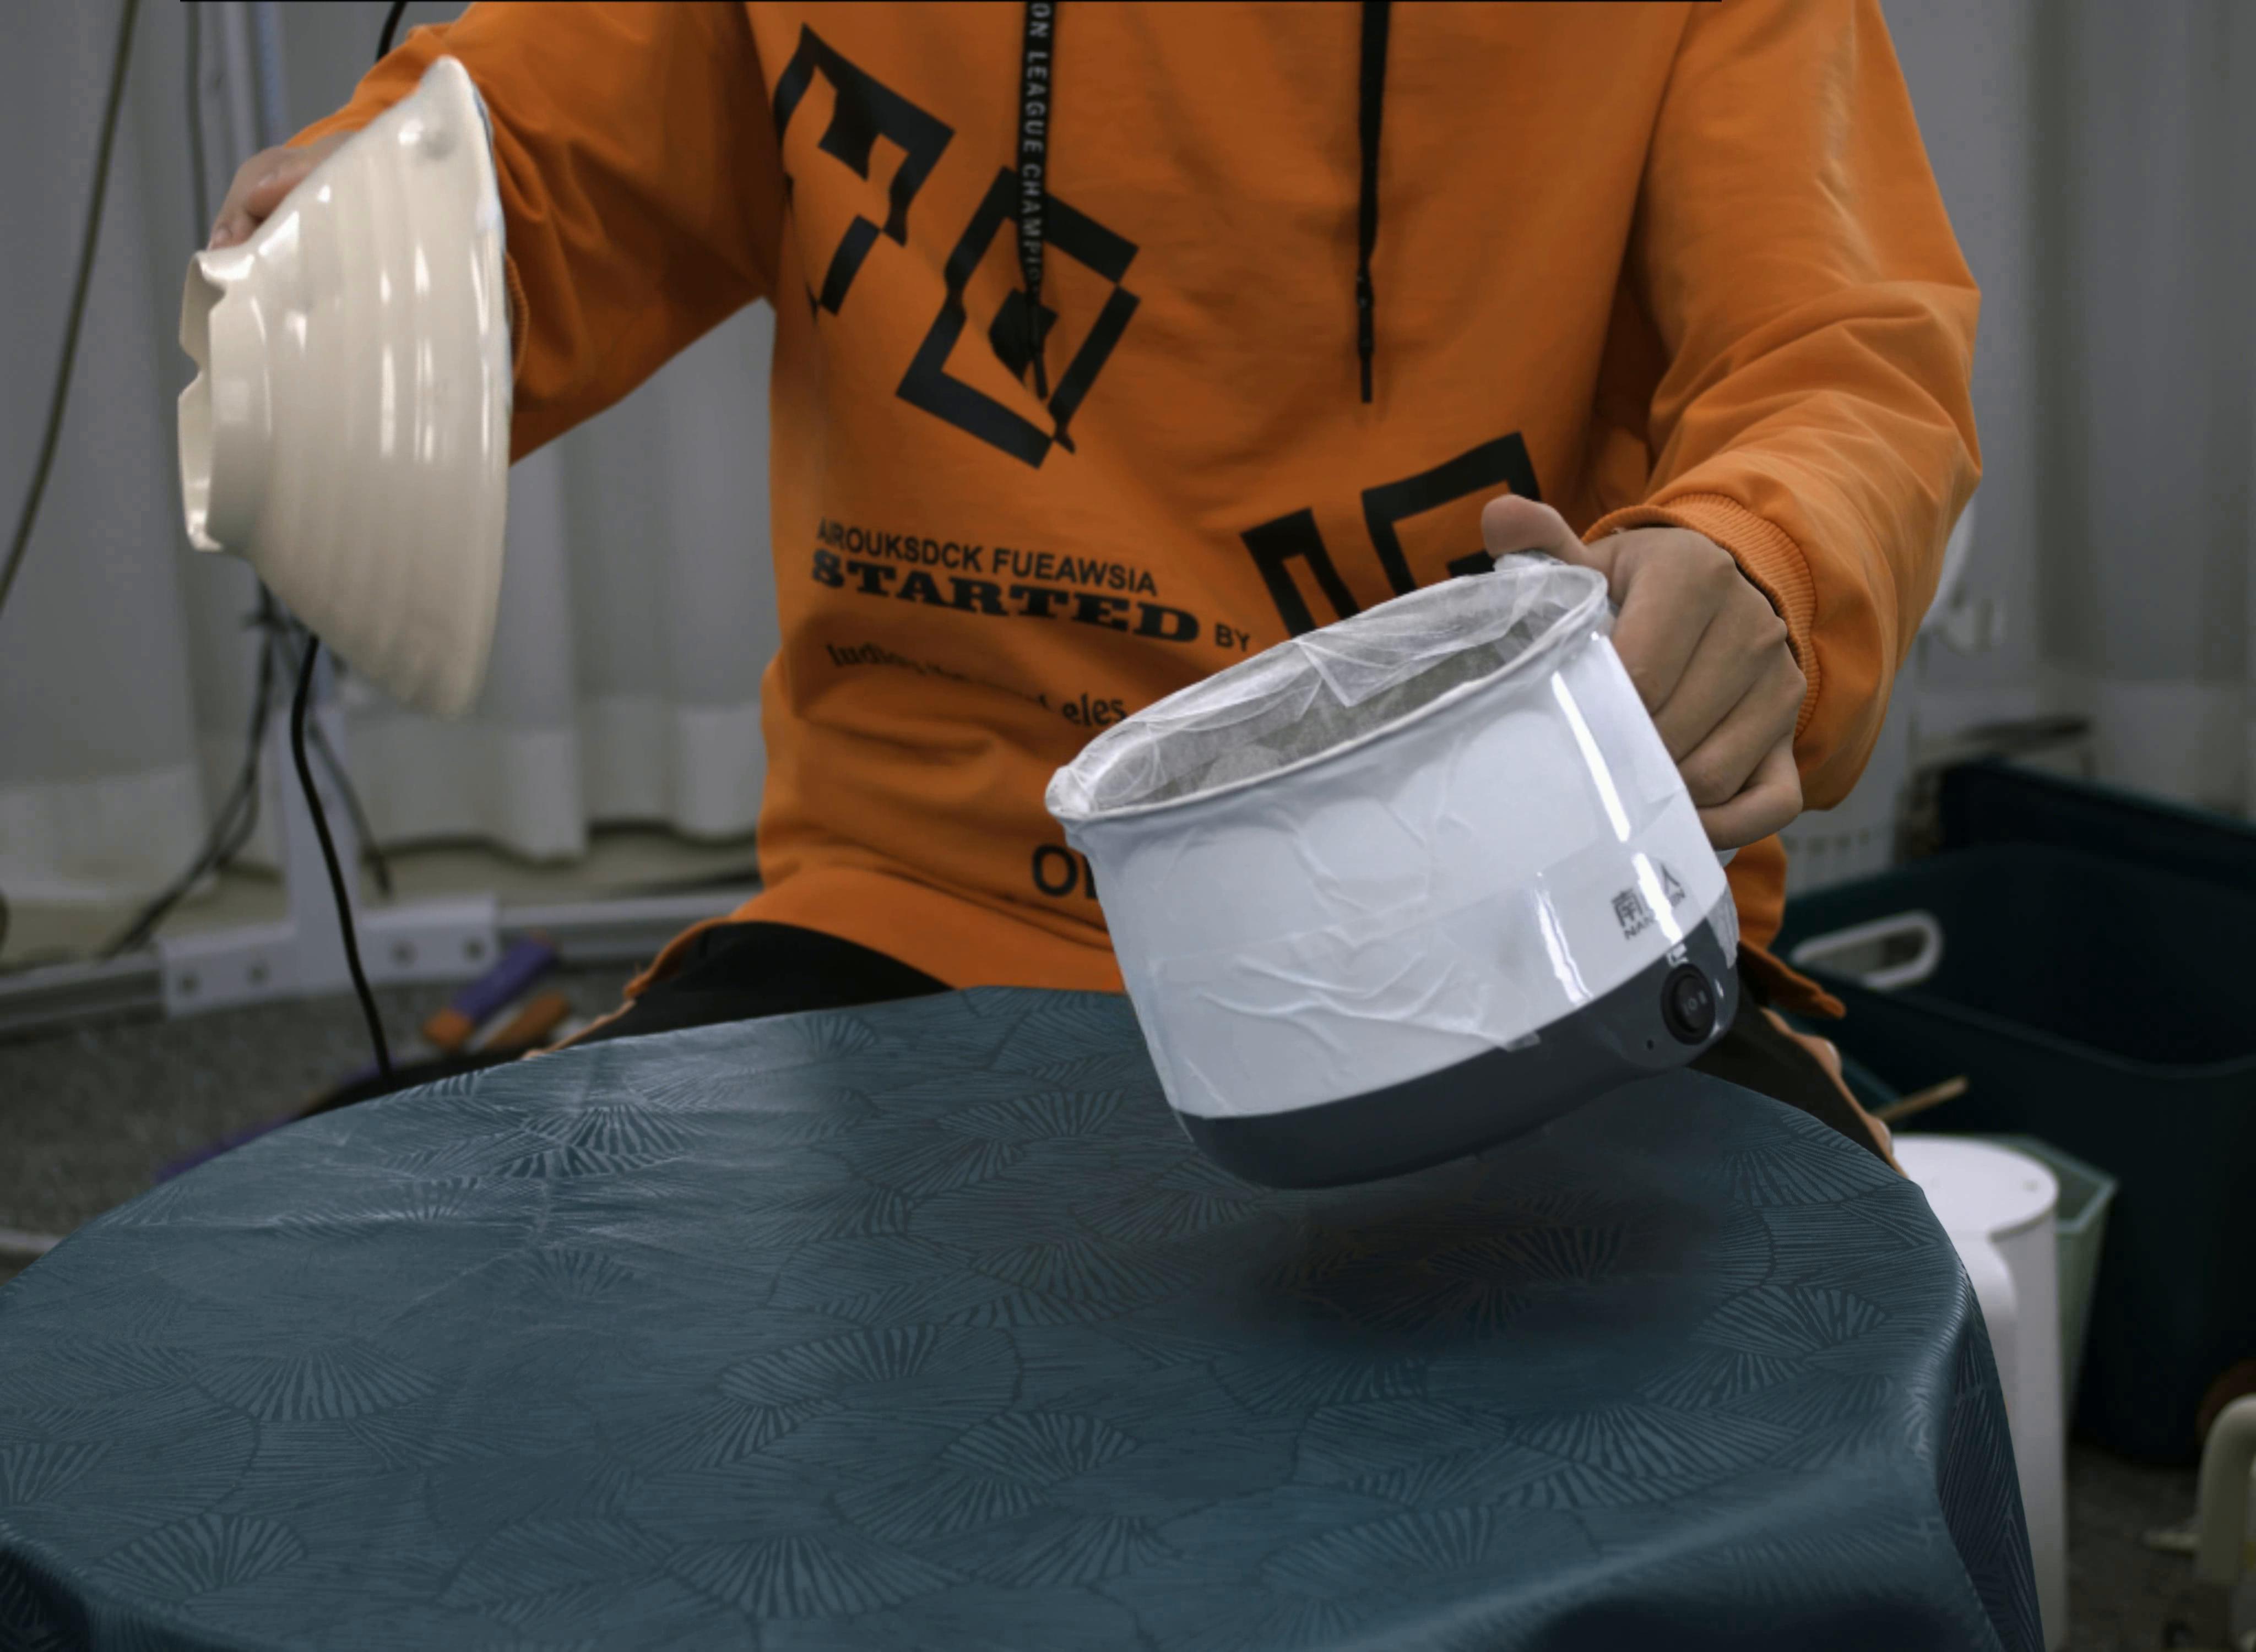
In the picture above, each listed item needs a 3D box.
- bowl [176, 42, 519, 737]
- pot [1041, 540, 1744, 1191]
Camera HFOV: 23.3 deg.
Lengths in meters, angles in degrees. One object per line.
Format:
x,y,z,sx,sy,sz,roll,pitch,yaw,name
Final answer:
-0.234,-0.127,1.605,0.077,0.203,0.205,-1,13,-17,bowl
0.096,0.005,1.623,0.179,0.136,0.234,-11,17,43,pot
